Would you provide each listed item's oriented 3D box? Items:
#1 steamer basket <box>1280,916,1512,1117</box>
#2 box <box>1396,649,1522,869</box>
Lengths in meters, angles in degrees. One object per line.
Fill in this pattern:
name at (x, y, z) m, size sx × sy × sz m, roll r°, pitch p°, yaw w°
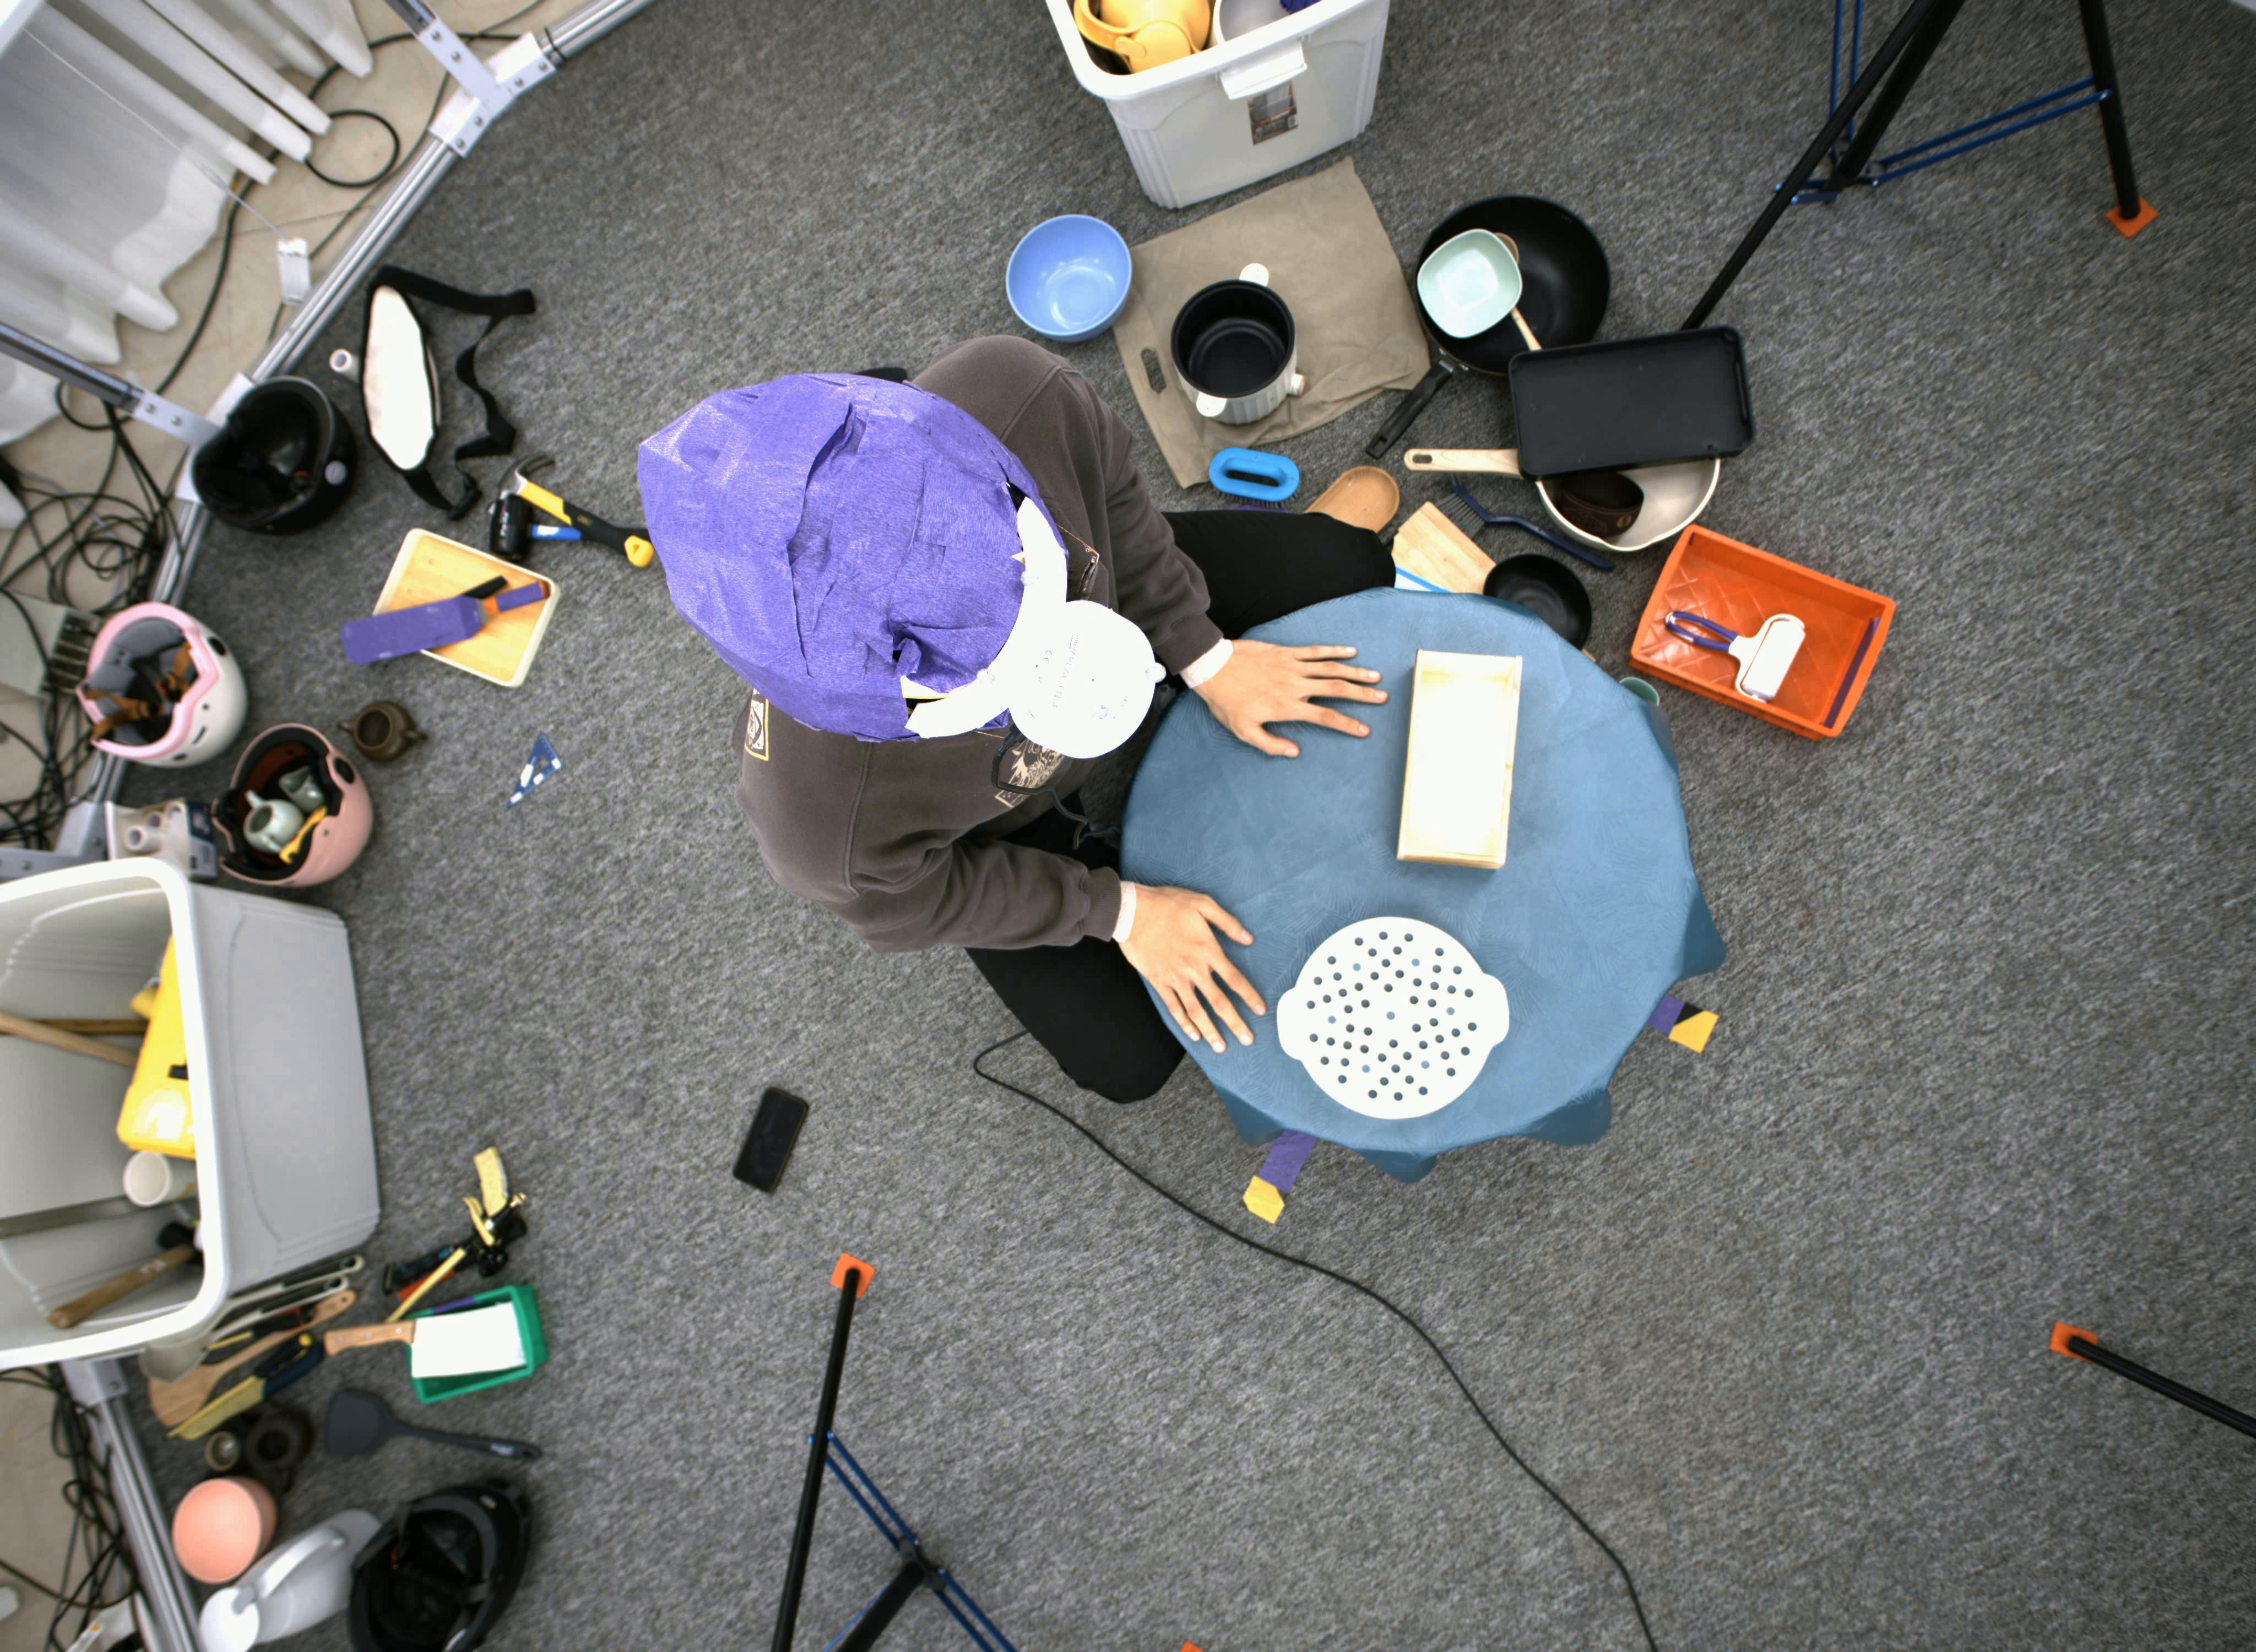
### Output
steamer basket at (0.274, 0.193, 1.417) m, size 0.232 × 0.069 × 0.201 m, roll -5°, pitch 85°, yaw 11°
box at (0.338, -0.069, 1.411) m, size 0.108 × 0.080 × 0.211 m, roll 5°, pitch 88°, yaw 11°
